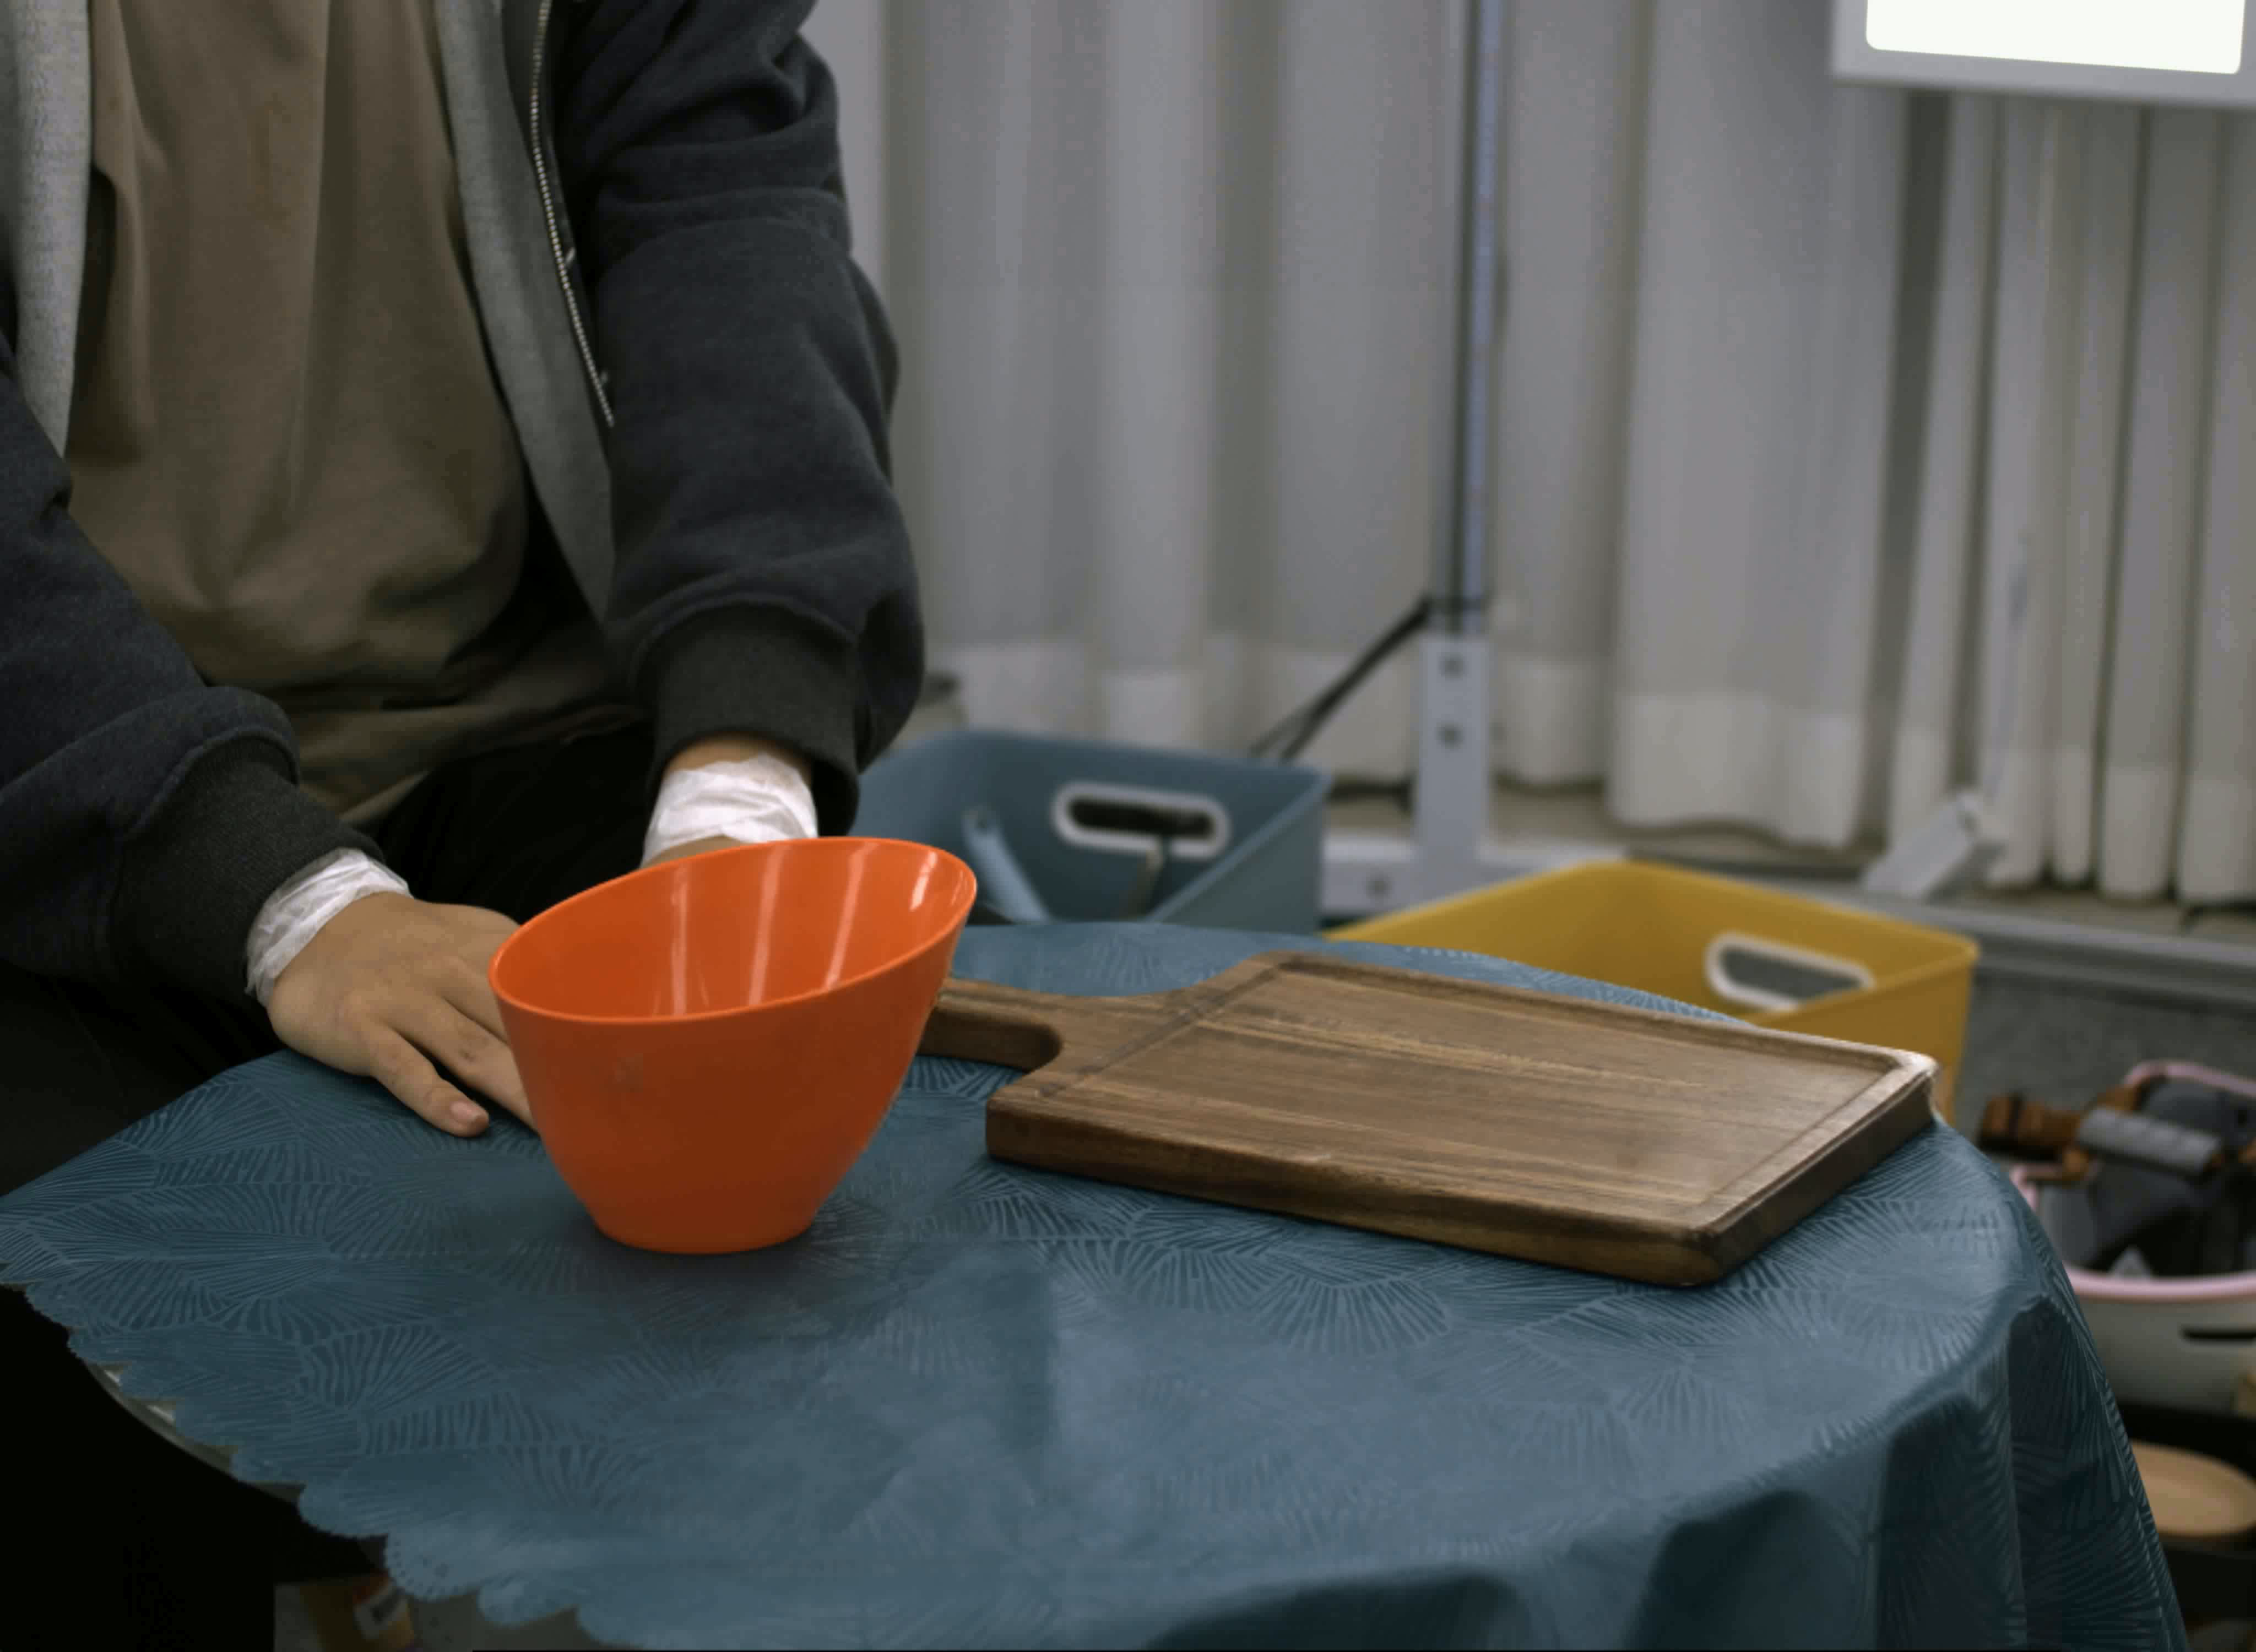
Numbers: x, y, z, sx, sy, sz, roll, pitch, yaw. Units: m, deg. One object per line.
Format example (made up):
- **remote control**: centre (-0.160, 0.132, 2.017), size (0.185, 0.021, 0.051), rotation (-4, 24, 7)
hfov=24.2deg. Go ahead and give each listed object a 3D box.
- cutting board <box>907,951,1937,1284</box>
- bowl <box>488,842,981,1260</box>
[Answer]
- **cutting board**: centre (0.065, 0.082, 1.696), size (0.348, 0.023, 0.201), rotation (8, 17, 27)
- **bowl**: centre (-0.117, 0.070, 1.583), size (0.147, 0.105, 0.147), rotation (1, 16, 0)
